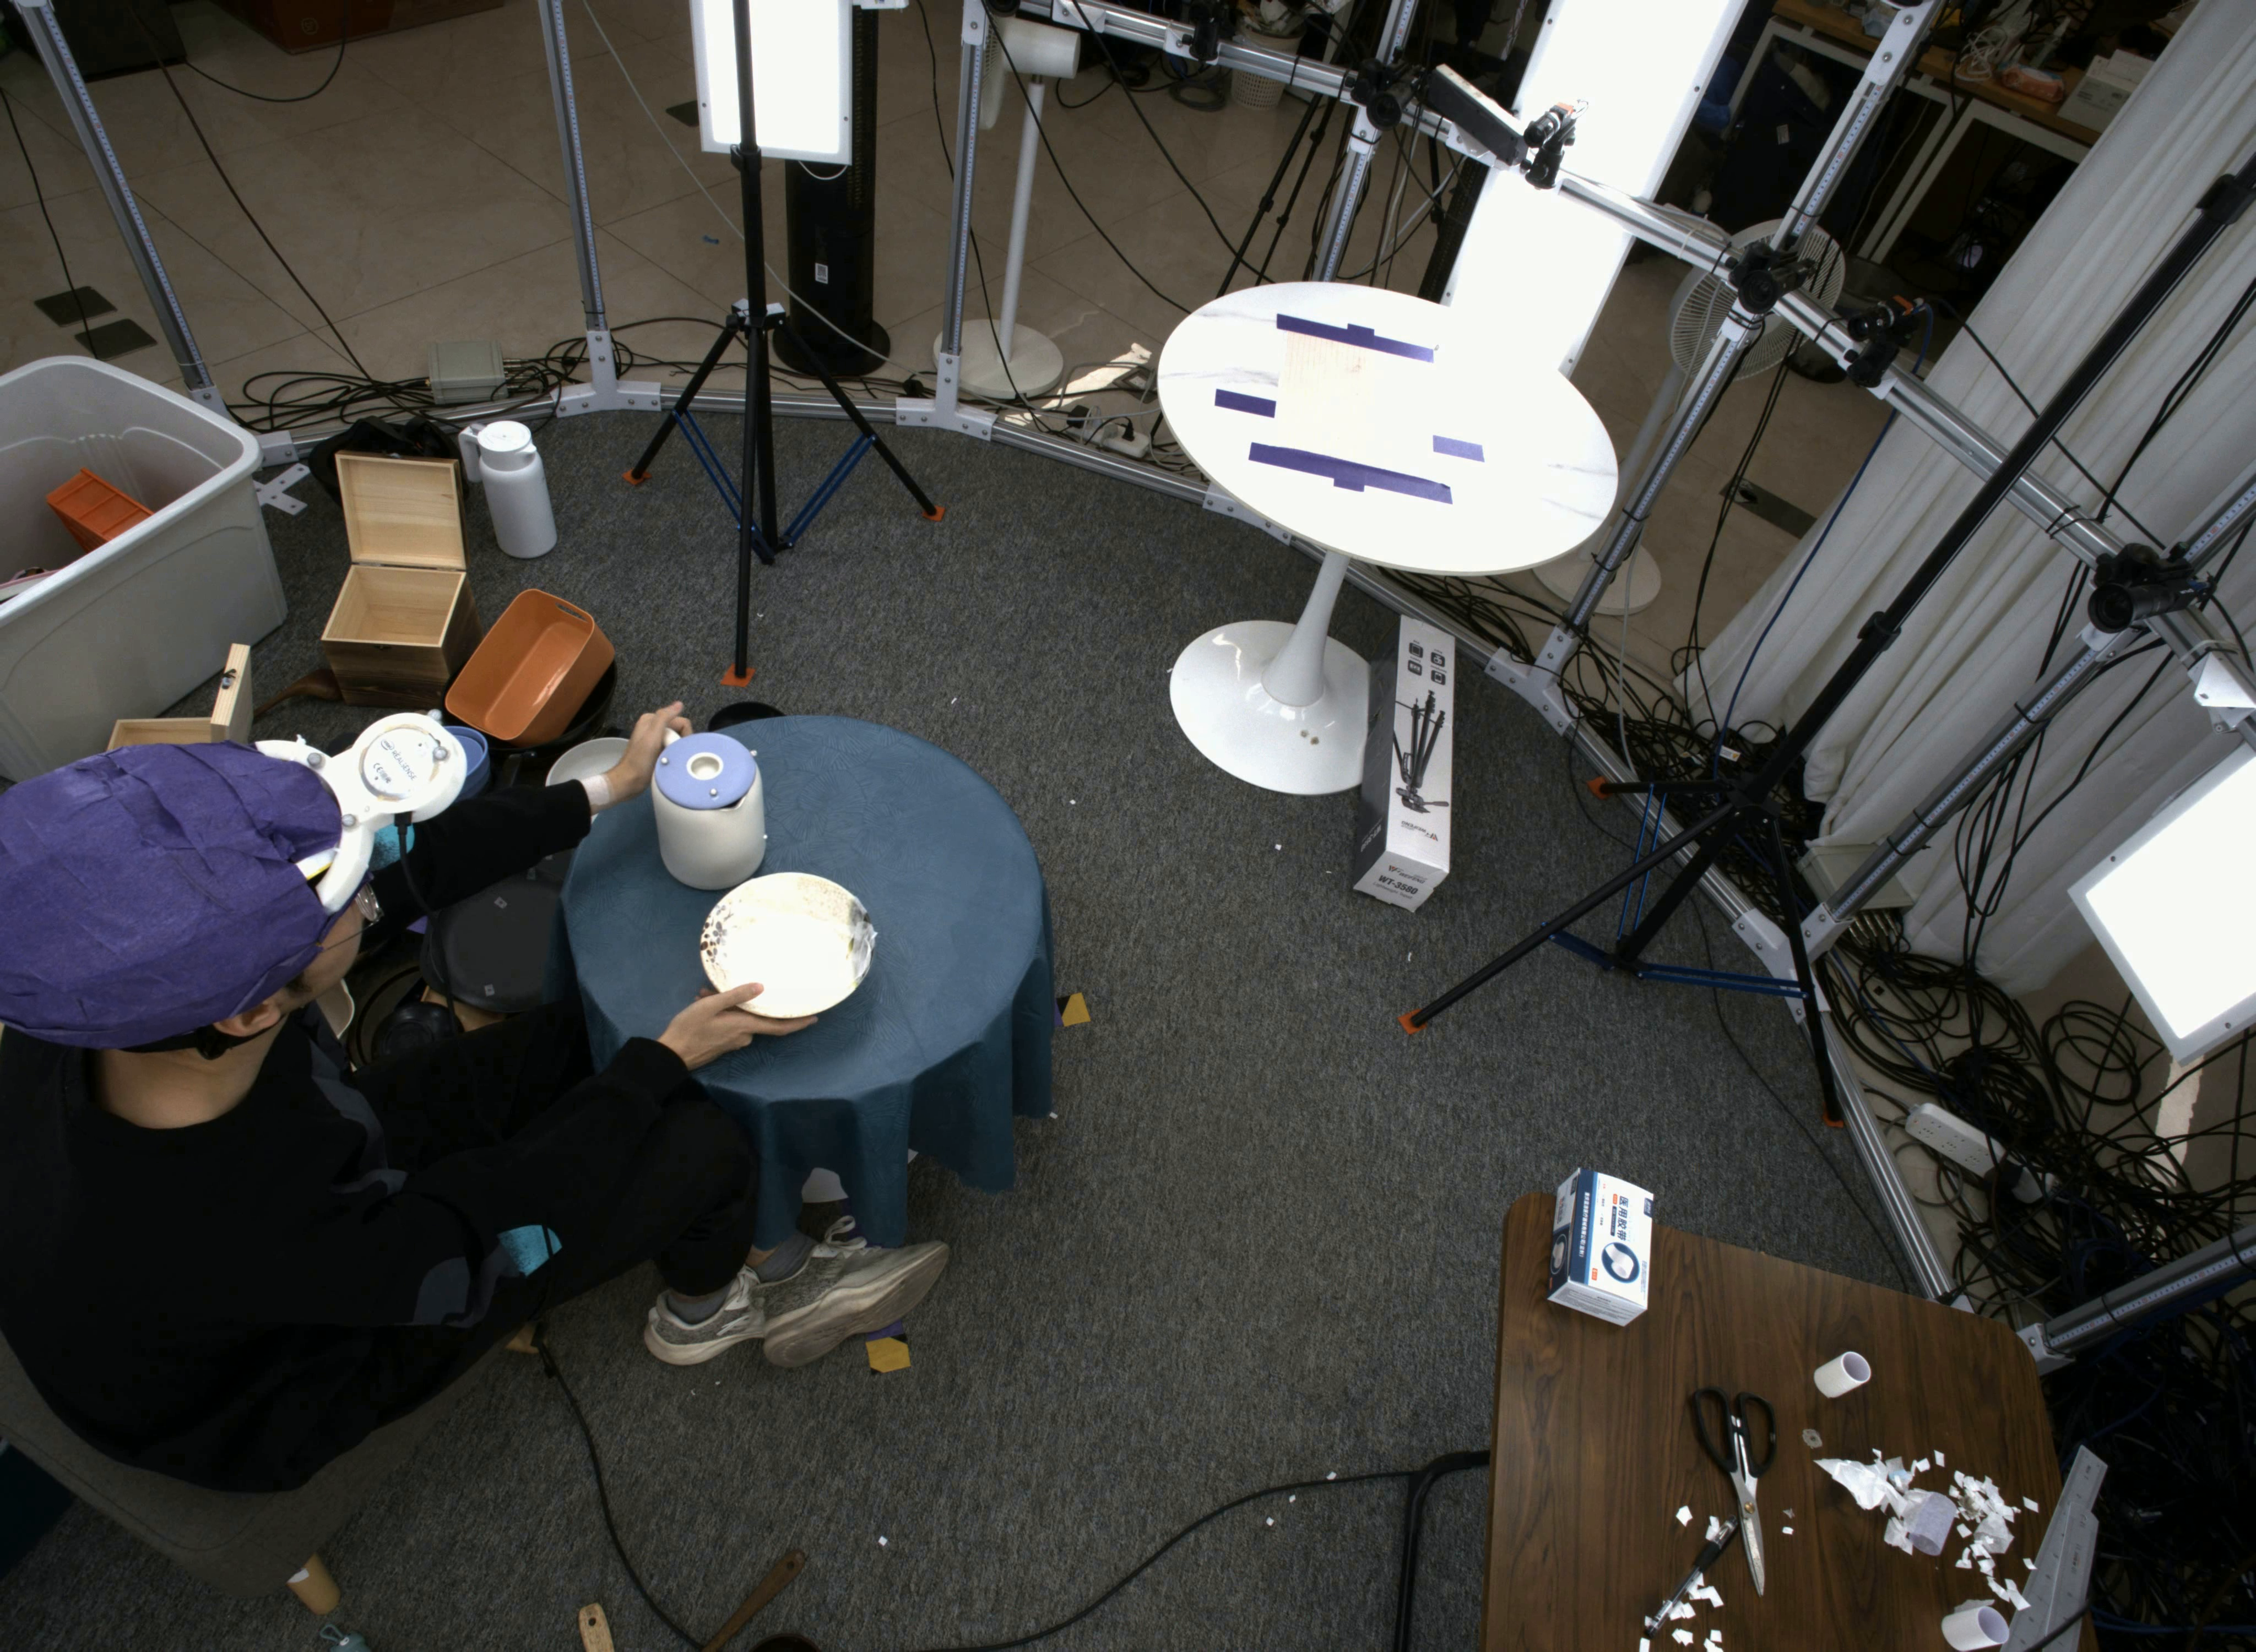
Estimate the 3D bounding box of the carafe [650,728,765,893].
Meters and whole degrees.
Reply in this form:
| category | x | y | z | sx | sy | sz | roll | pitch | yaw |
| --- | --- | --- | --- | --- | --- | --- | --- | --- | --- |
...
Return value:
| category | x | y | z | sx | sy | sz | roll | pitch | yaw |
| --- | --- | --- | --- | --- | --- | --- | --- | --- | --- |
| carafe | -0.539 | -0.034 | 1.614 | 0.186 | 0.187 | 0.132 | 41 | 54 | 21 |

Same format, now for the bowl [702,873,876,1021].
| category | x | y | z | sx | sy | sz | roll | pitch | yaw |
| --- | --- | --- | --- | --- | --- | --- | --- | --- | --- |
| bowl | -0.406 | 0.159 | 1.570 | 0.203 | 0.079 | 0.200 | 6 | 55 | -7 |
